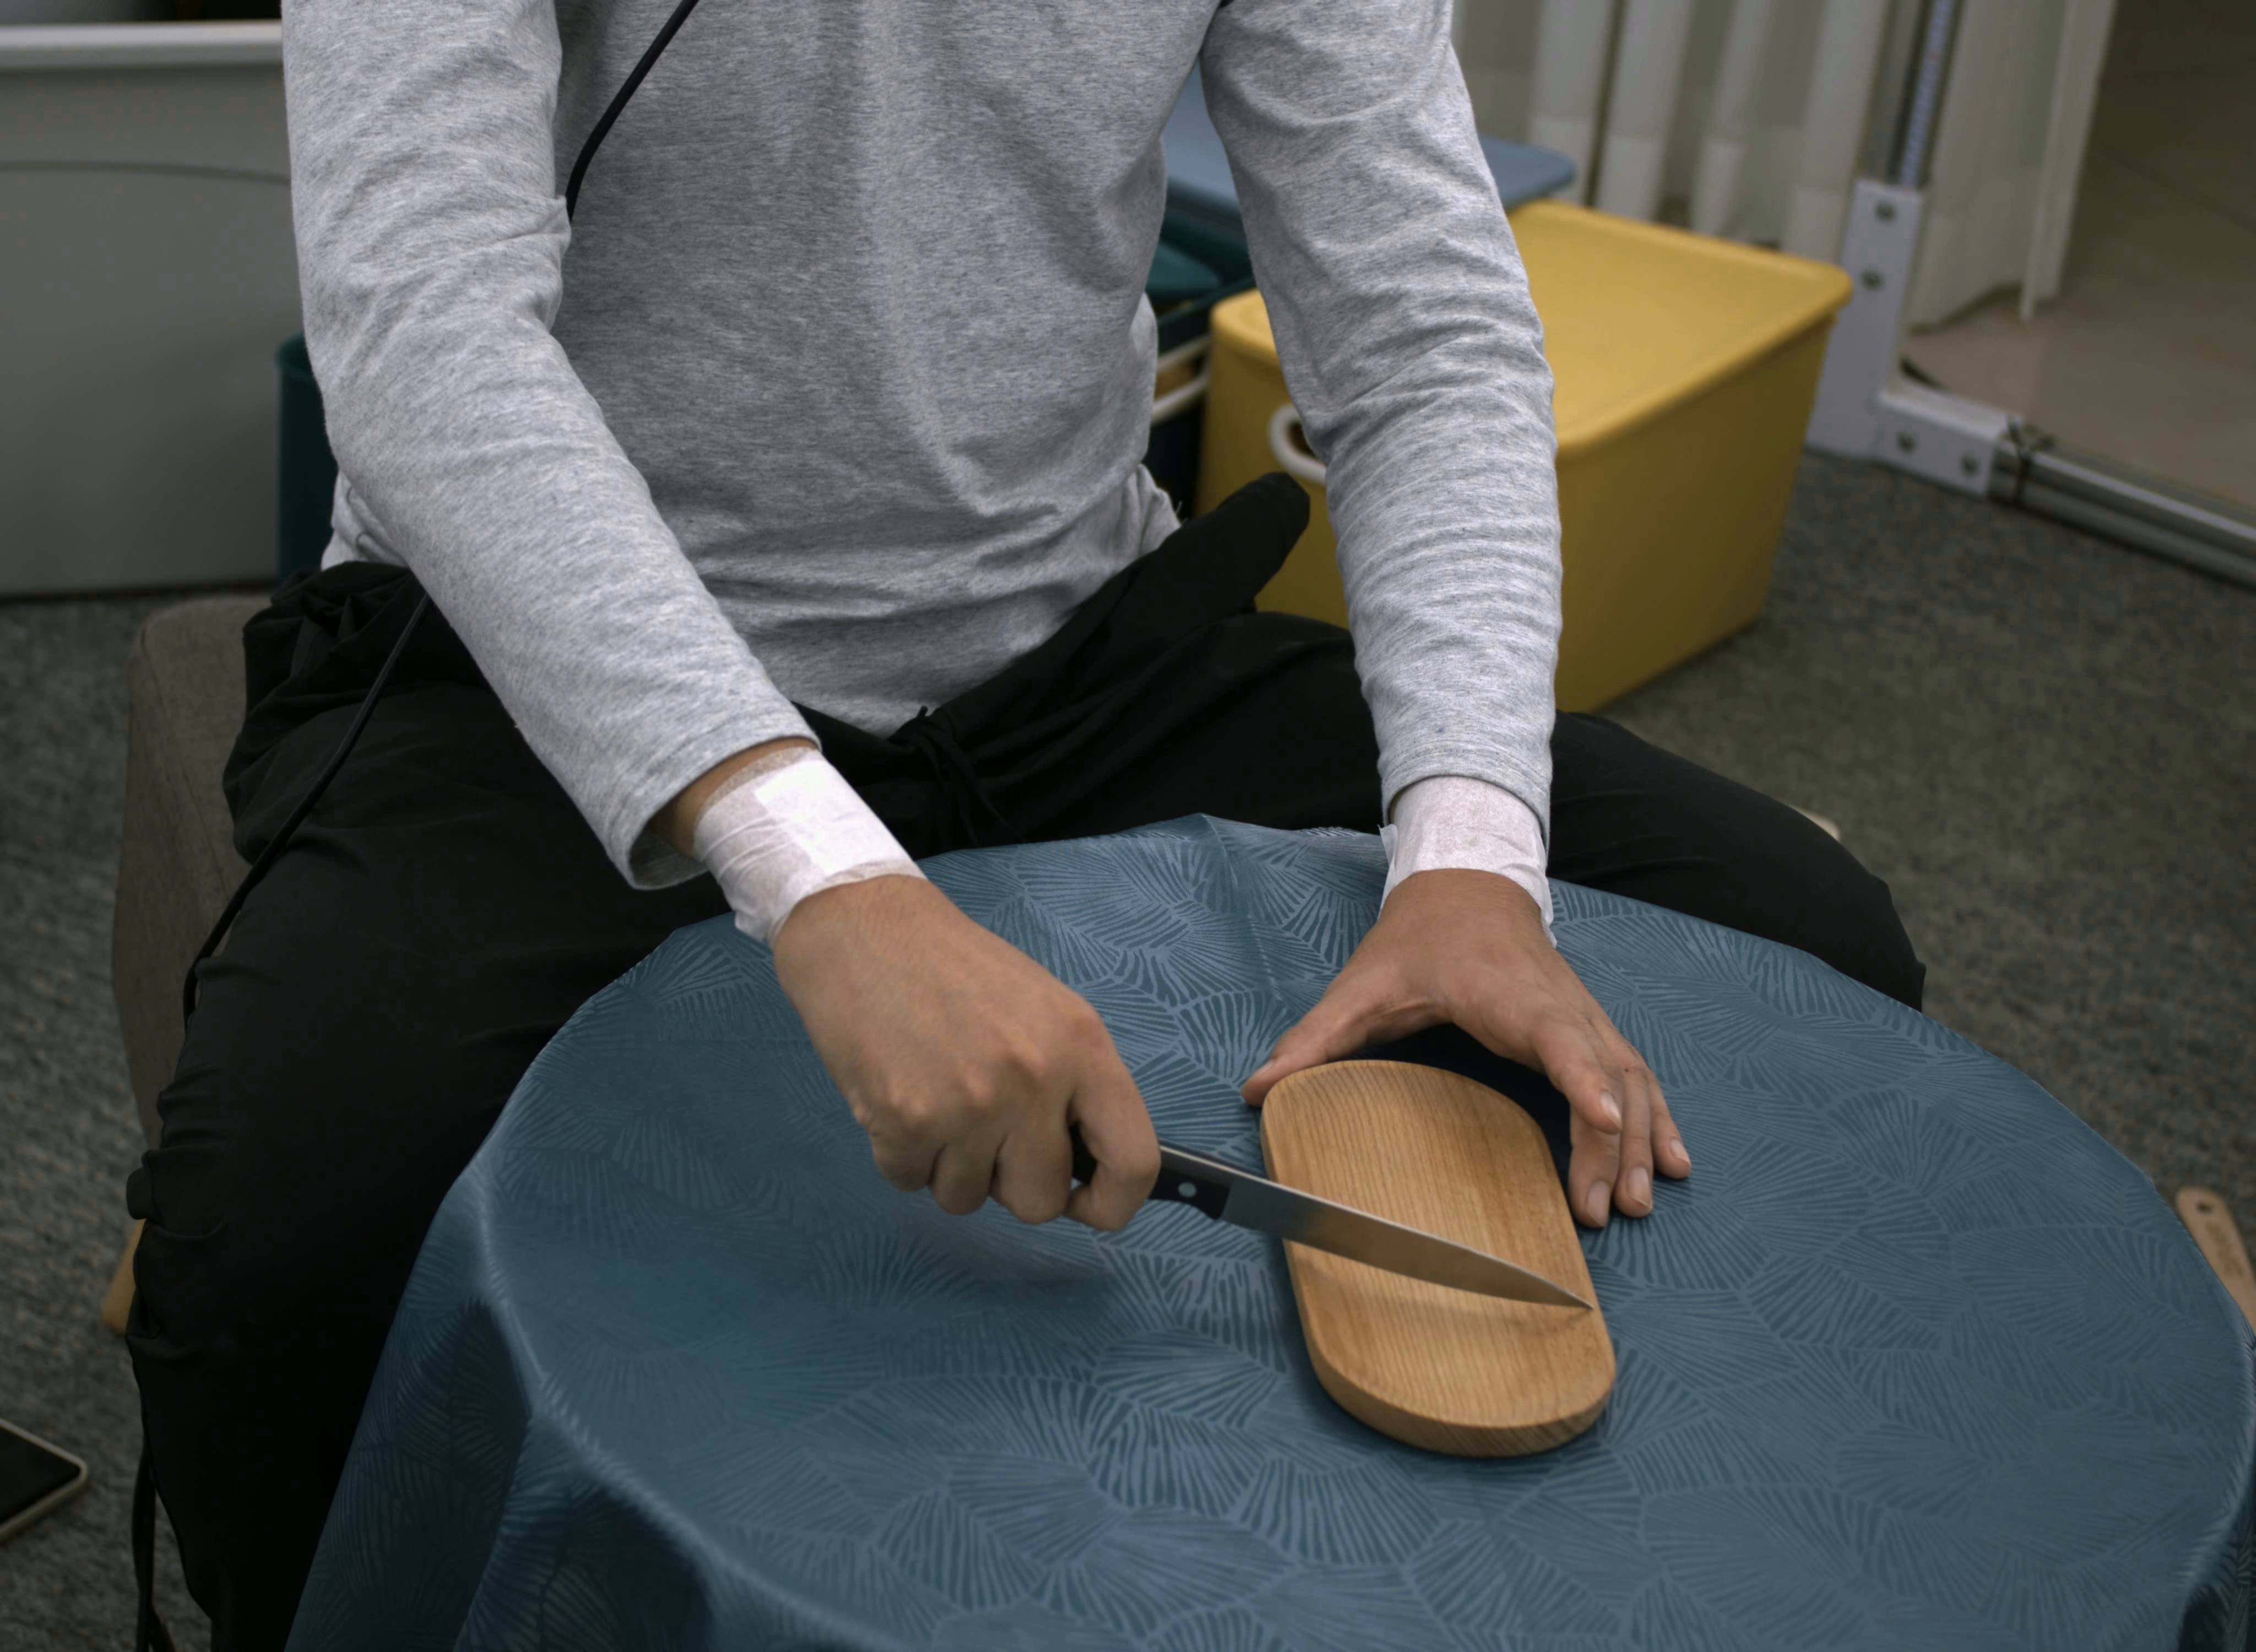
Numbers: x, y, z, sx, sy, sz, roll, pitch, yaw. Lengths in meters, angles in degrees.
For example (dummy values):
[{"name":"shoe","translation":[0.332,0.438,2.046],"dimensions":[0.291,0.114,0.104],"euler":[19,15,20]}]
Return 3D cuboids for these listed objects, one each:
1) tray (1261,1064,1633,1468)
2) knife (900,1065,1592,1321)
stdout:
[{"name":"tray","translation":[0.104,0.144,1.772],"dimensions":[0.101,0.020,0.233],"euler":[1,29,-8]},{"name":"knife","translation":[0.040,0.121,1.736],"dimensions":[0.237,0.024,0.016],"euler":[19,35,-2]}]
